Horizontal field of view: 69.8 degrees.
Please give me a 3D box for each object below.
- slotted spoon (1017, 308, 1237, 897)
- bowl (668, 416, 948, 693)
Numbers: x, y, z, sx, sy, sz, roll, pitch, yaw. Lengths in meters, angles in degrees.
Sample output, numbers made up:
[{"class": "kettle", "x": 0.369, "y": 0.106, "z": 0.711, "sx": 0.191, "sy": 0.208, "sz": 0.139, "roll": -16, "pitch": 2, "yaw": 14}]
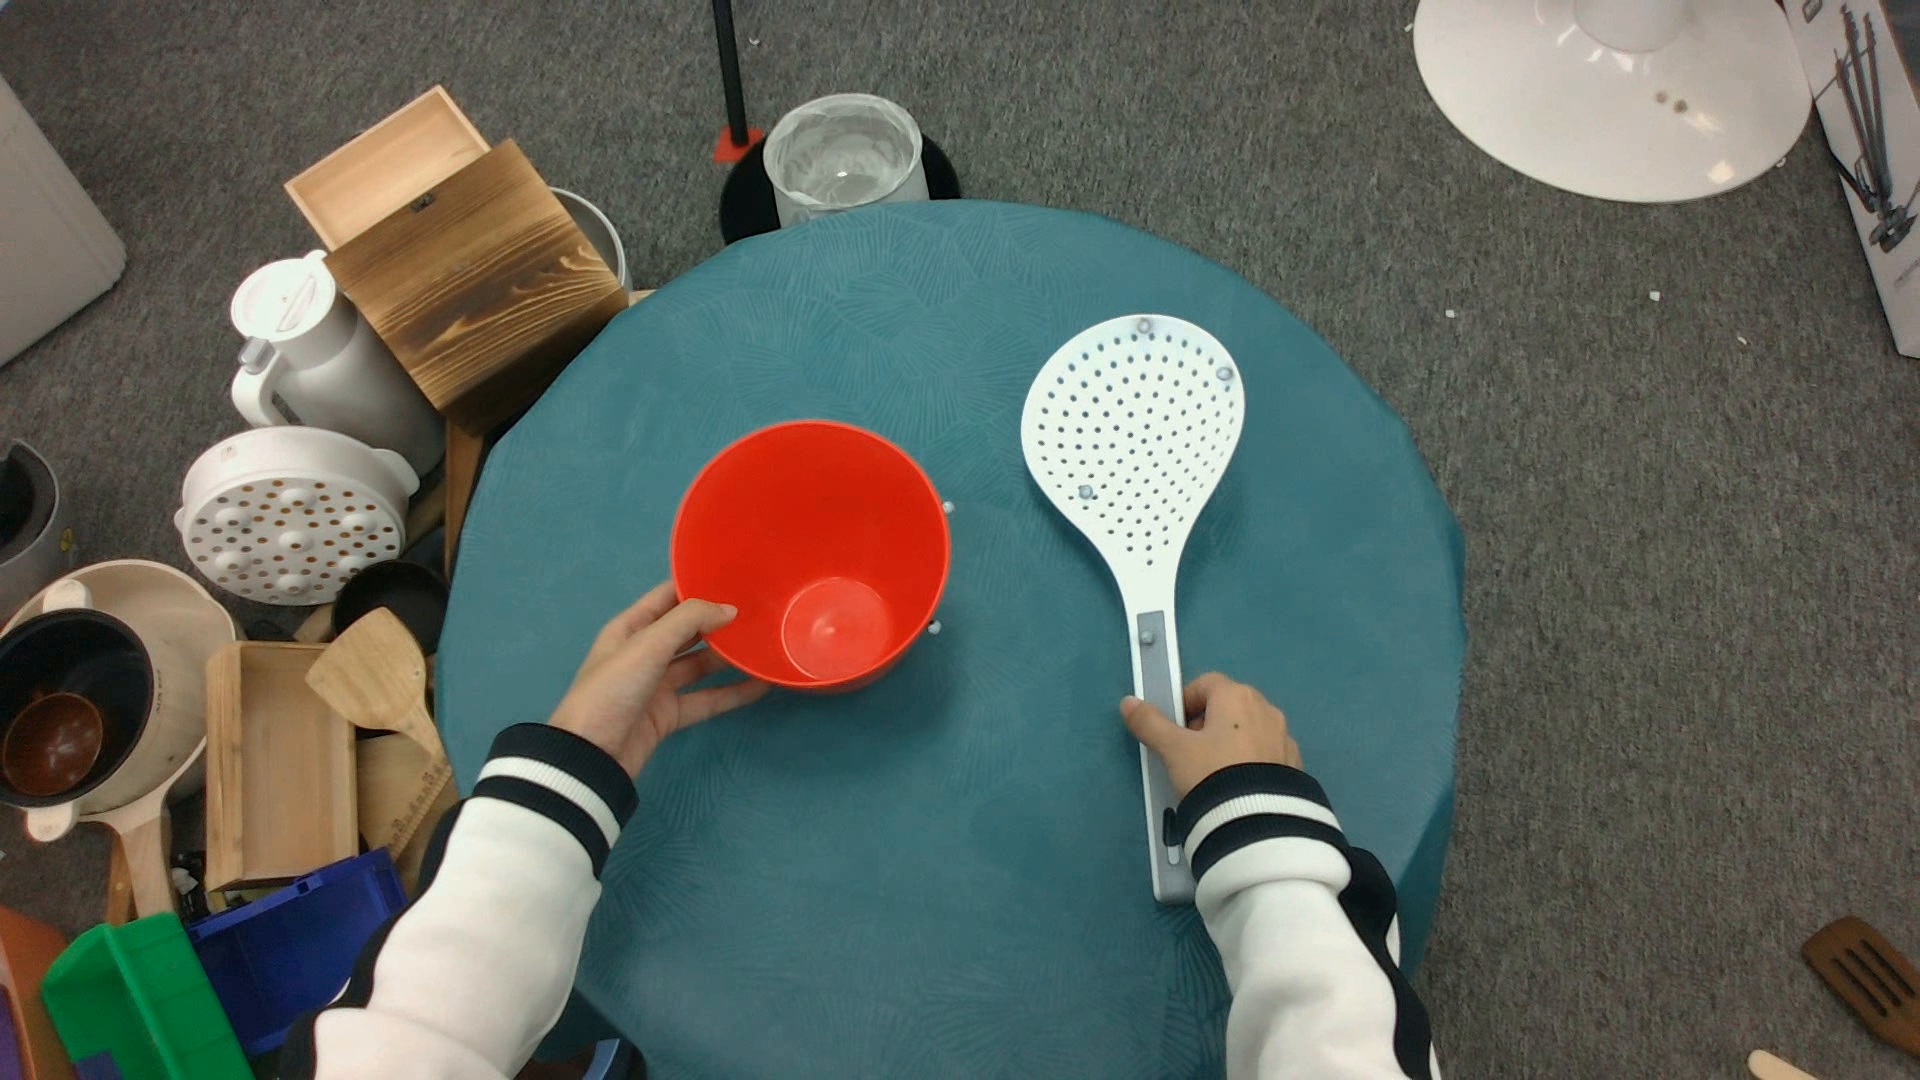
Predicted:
[{"class": "slotted spoon", "x": 0.106, "y": 0.024, "z": 0.786, "sx": 0.136, "sy": 0.045, "sz": 0.351, "roll": -12, "pitch": 61, "yaw": 20}, {"class": "bowl", "x": -0.081, "y": 0.021, "z": 0.766, "sx": 0.148, "sy": 0.104, "sz": 0.148, "roll": 1, "pitch": 62, "yaw": -1}]
